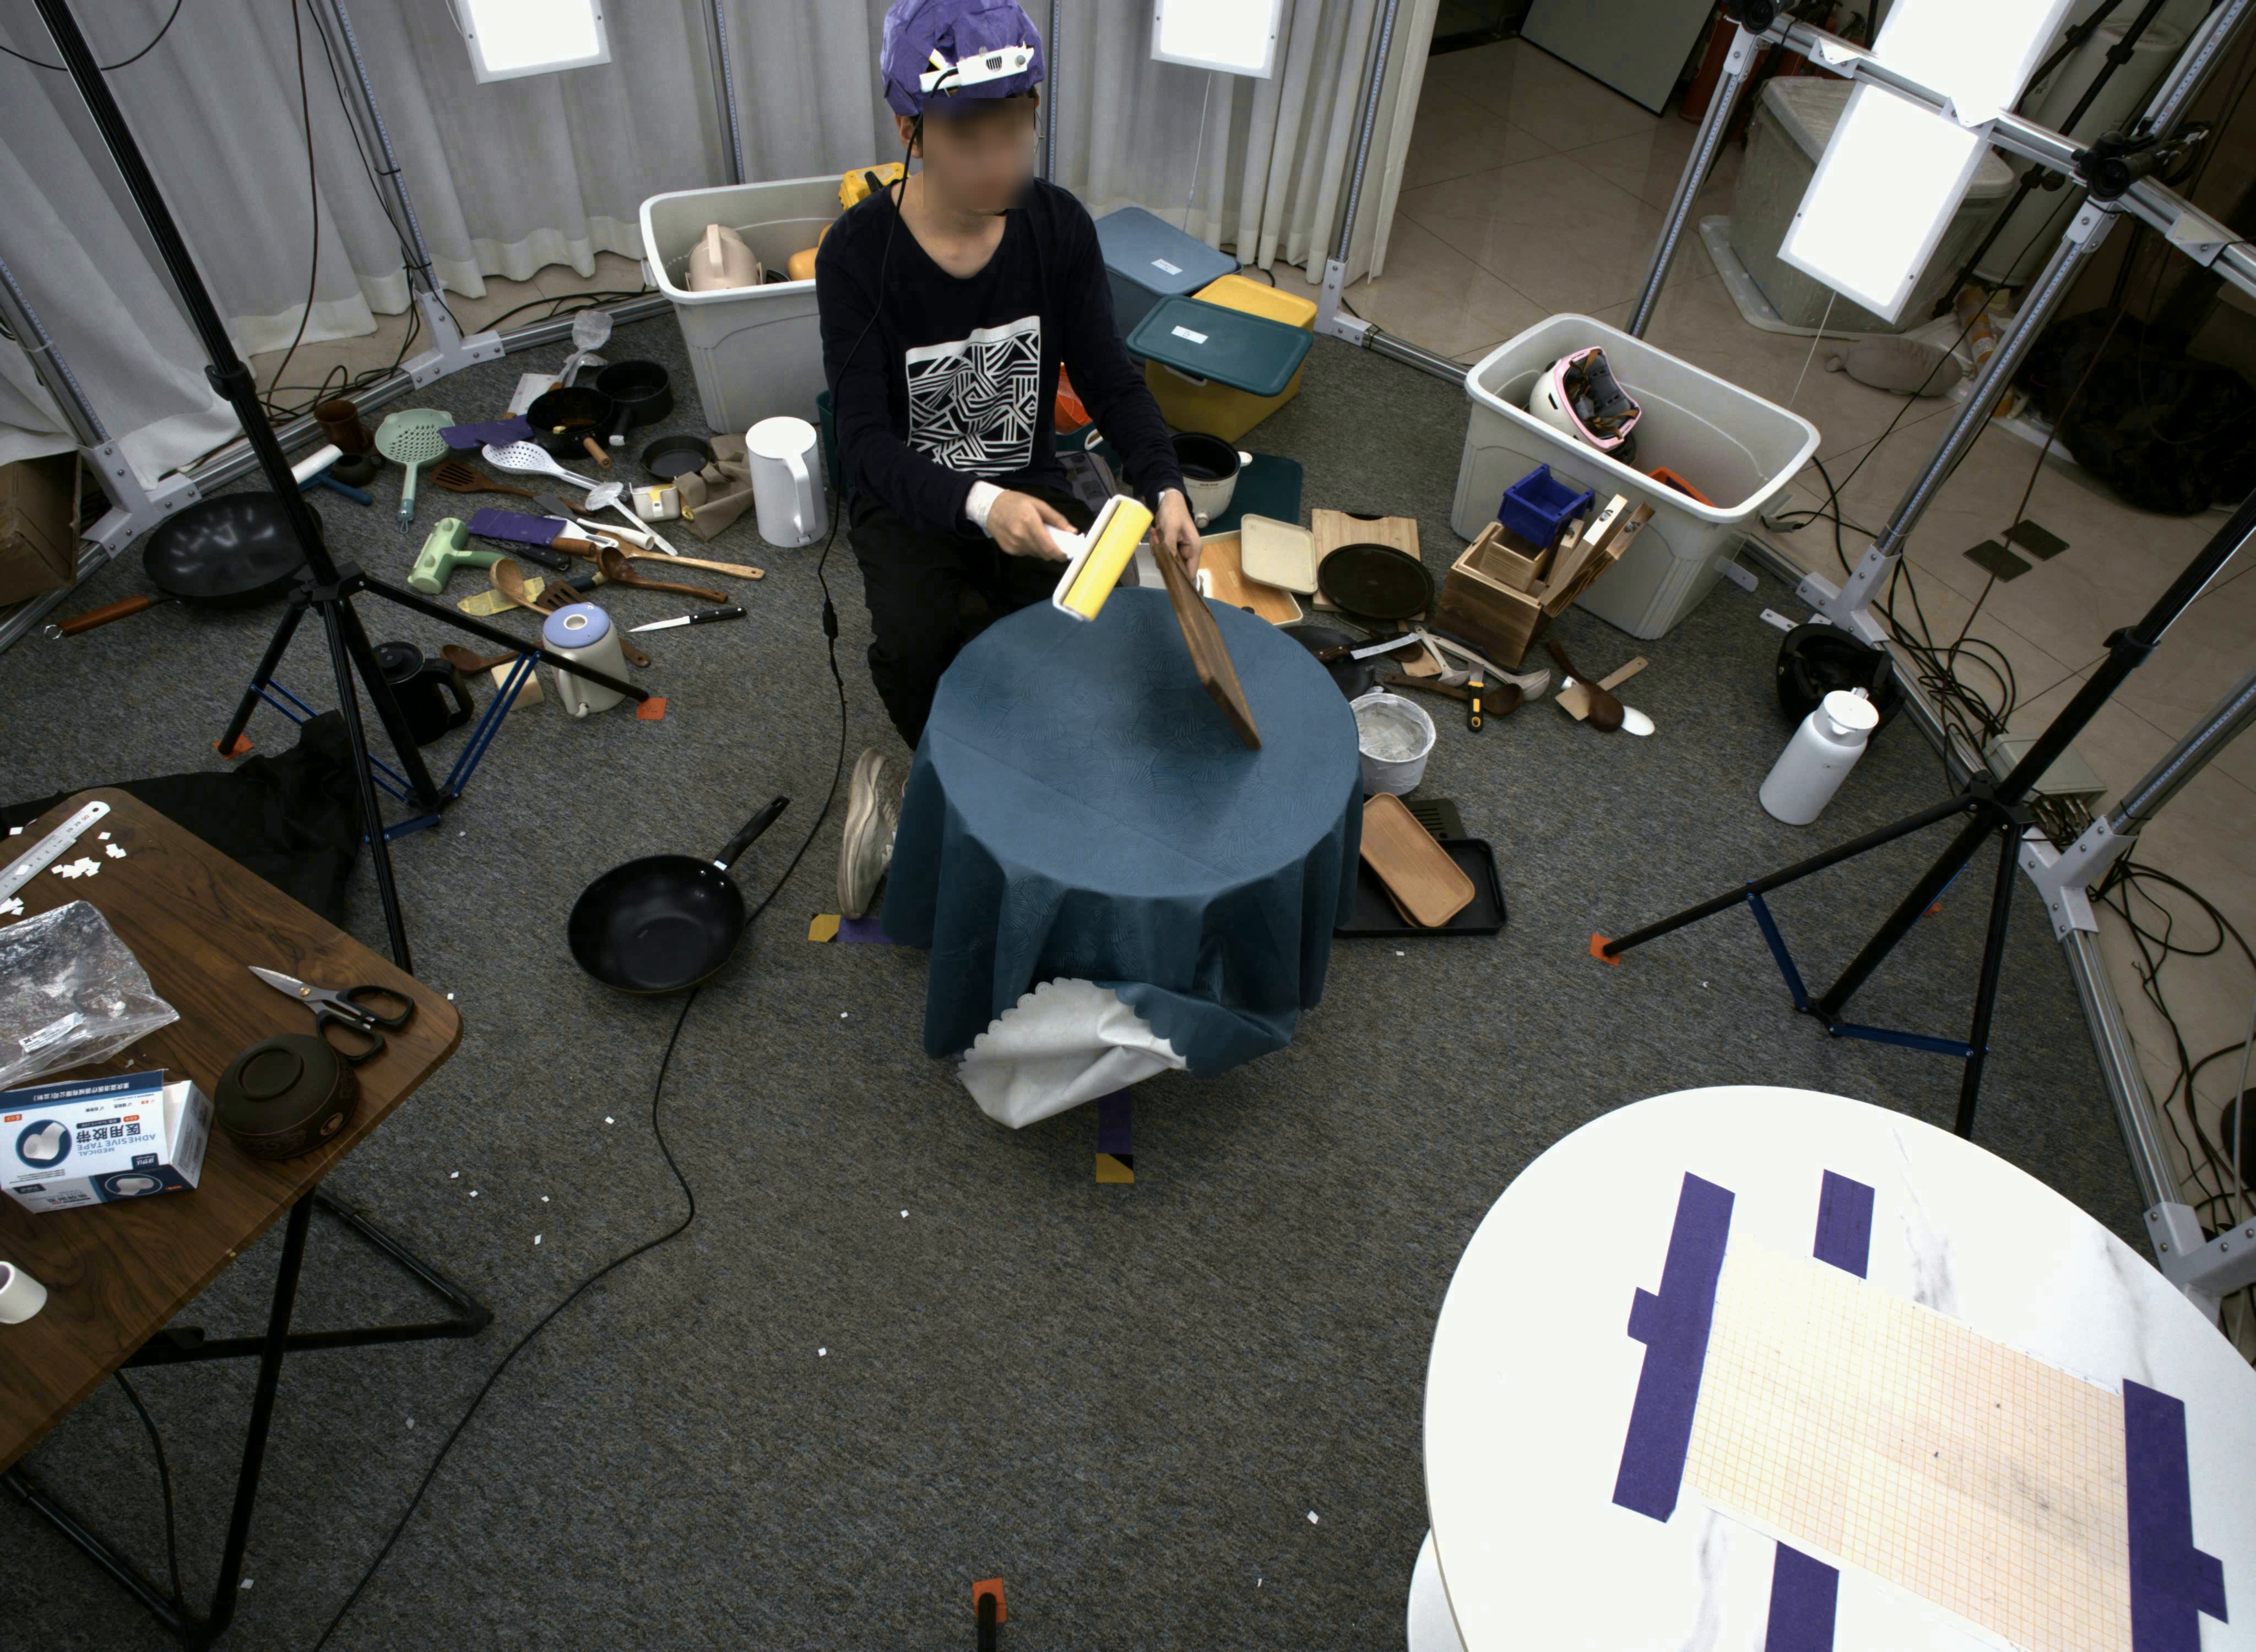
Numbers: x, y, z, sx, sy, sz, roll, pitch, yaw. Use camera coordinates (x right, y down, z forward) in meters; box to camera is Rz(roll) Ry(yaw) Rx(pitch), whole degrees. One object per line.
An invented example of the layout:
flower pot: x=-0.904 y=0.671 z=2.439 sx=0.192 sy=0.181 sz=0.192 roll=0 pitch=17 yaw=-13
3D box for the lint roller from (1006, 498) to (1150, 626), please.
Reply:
lint roller: x=-0.089 y=-0.375 z=1.712 sx=0.194 sy=0.051 sz=0.175 roll=28 pitch=86 yaw=21

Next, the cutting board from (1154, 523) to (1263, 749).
cutting board: x=0.098 y=-0.288 z=1.783 sx=0.023 sy=0.197 sz=0.360 roll=-26 pitch=57 yaw=13
